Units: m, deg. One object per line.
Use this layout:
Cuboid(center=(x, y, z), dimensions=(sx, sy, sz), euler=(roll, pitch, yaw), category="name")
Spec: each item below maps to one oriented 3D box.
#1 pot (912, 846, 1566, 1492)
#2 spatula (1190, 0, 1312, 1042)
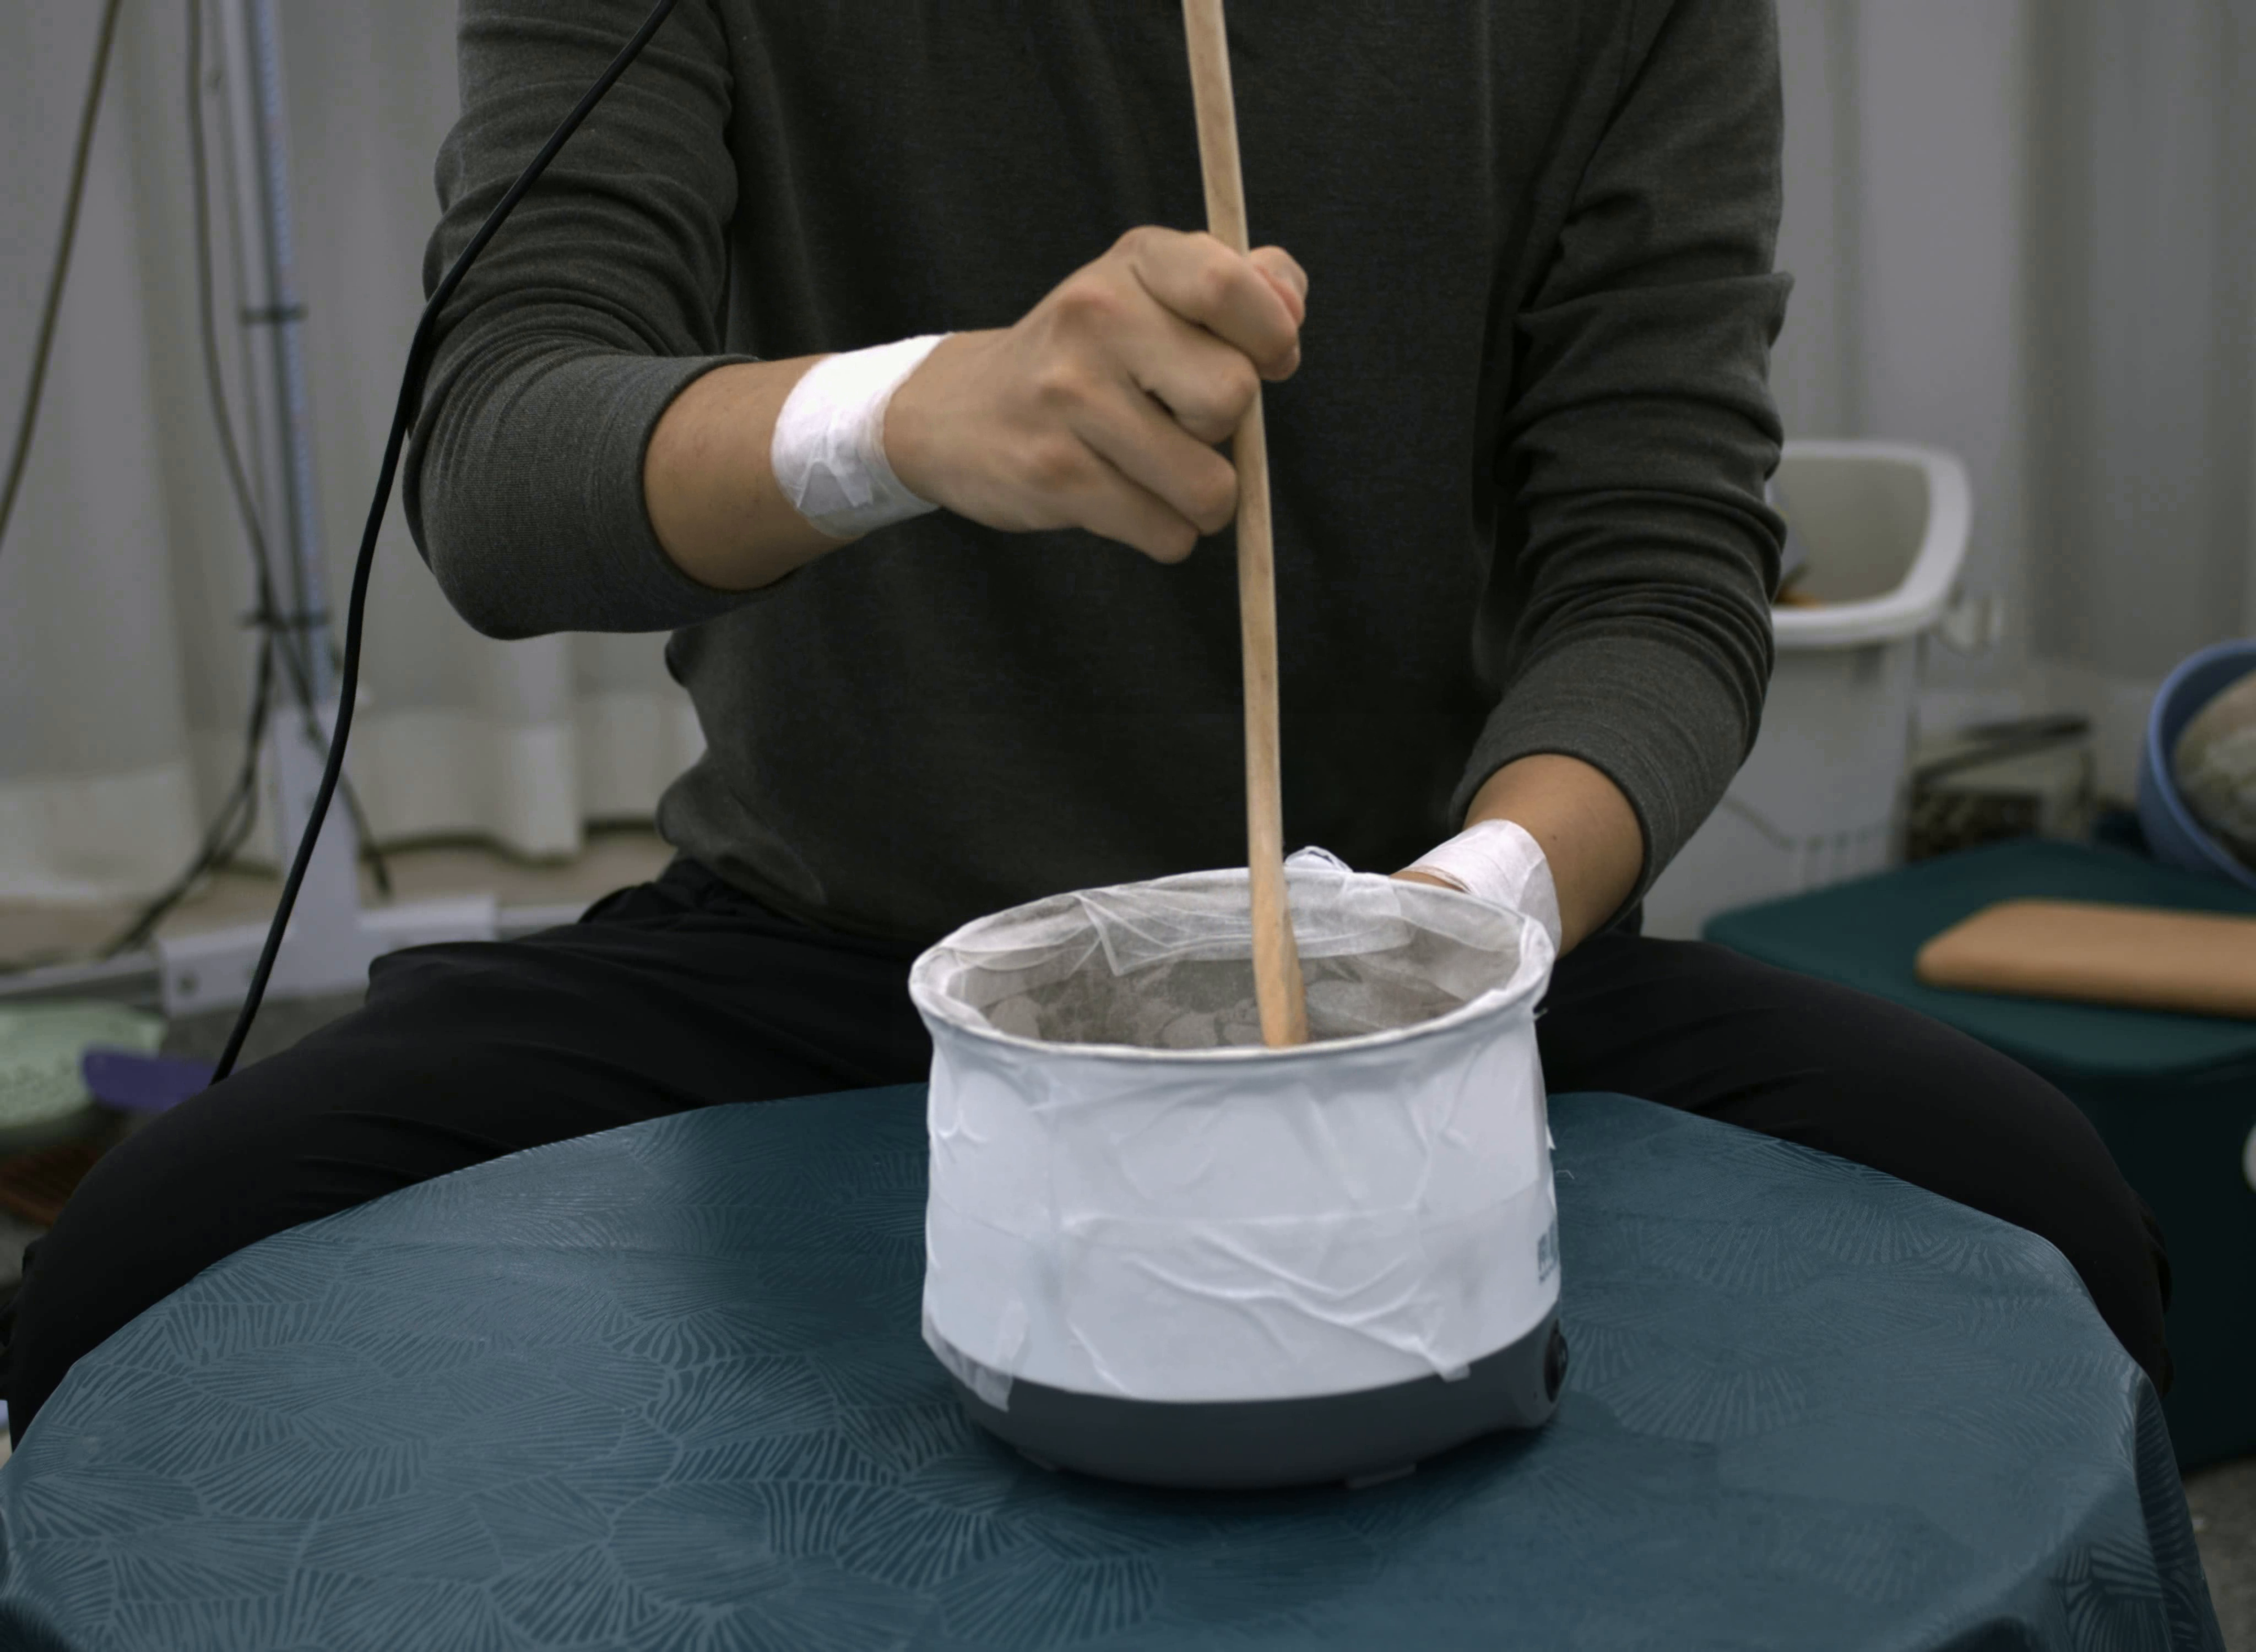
Cuboid(center=(0.038, 0.090, 1.538), dimensions=(0.178, 0.136, 0.235), euler=(1, 15, 14), category="pot")
Cuboid(center=(0.034, -0.075, 1.475), dimensions=(0.018, 0.390, 0.096), euler=(-4, 10, 1), category="spatula")
